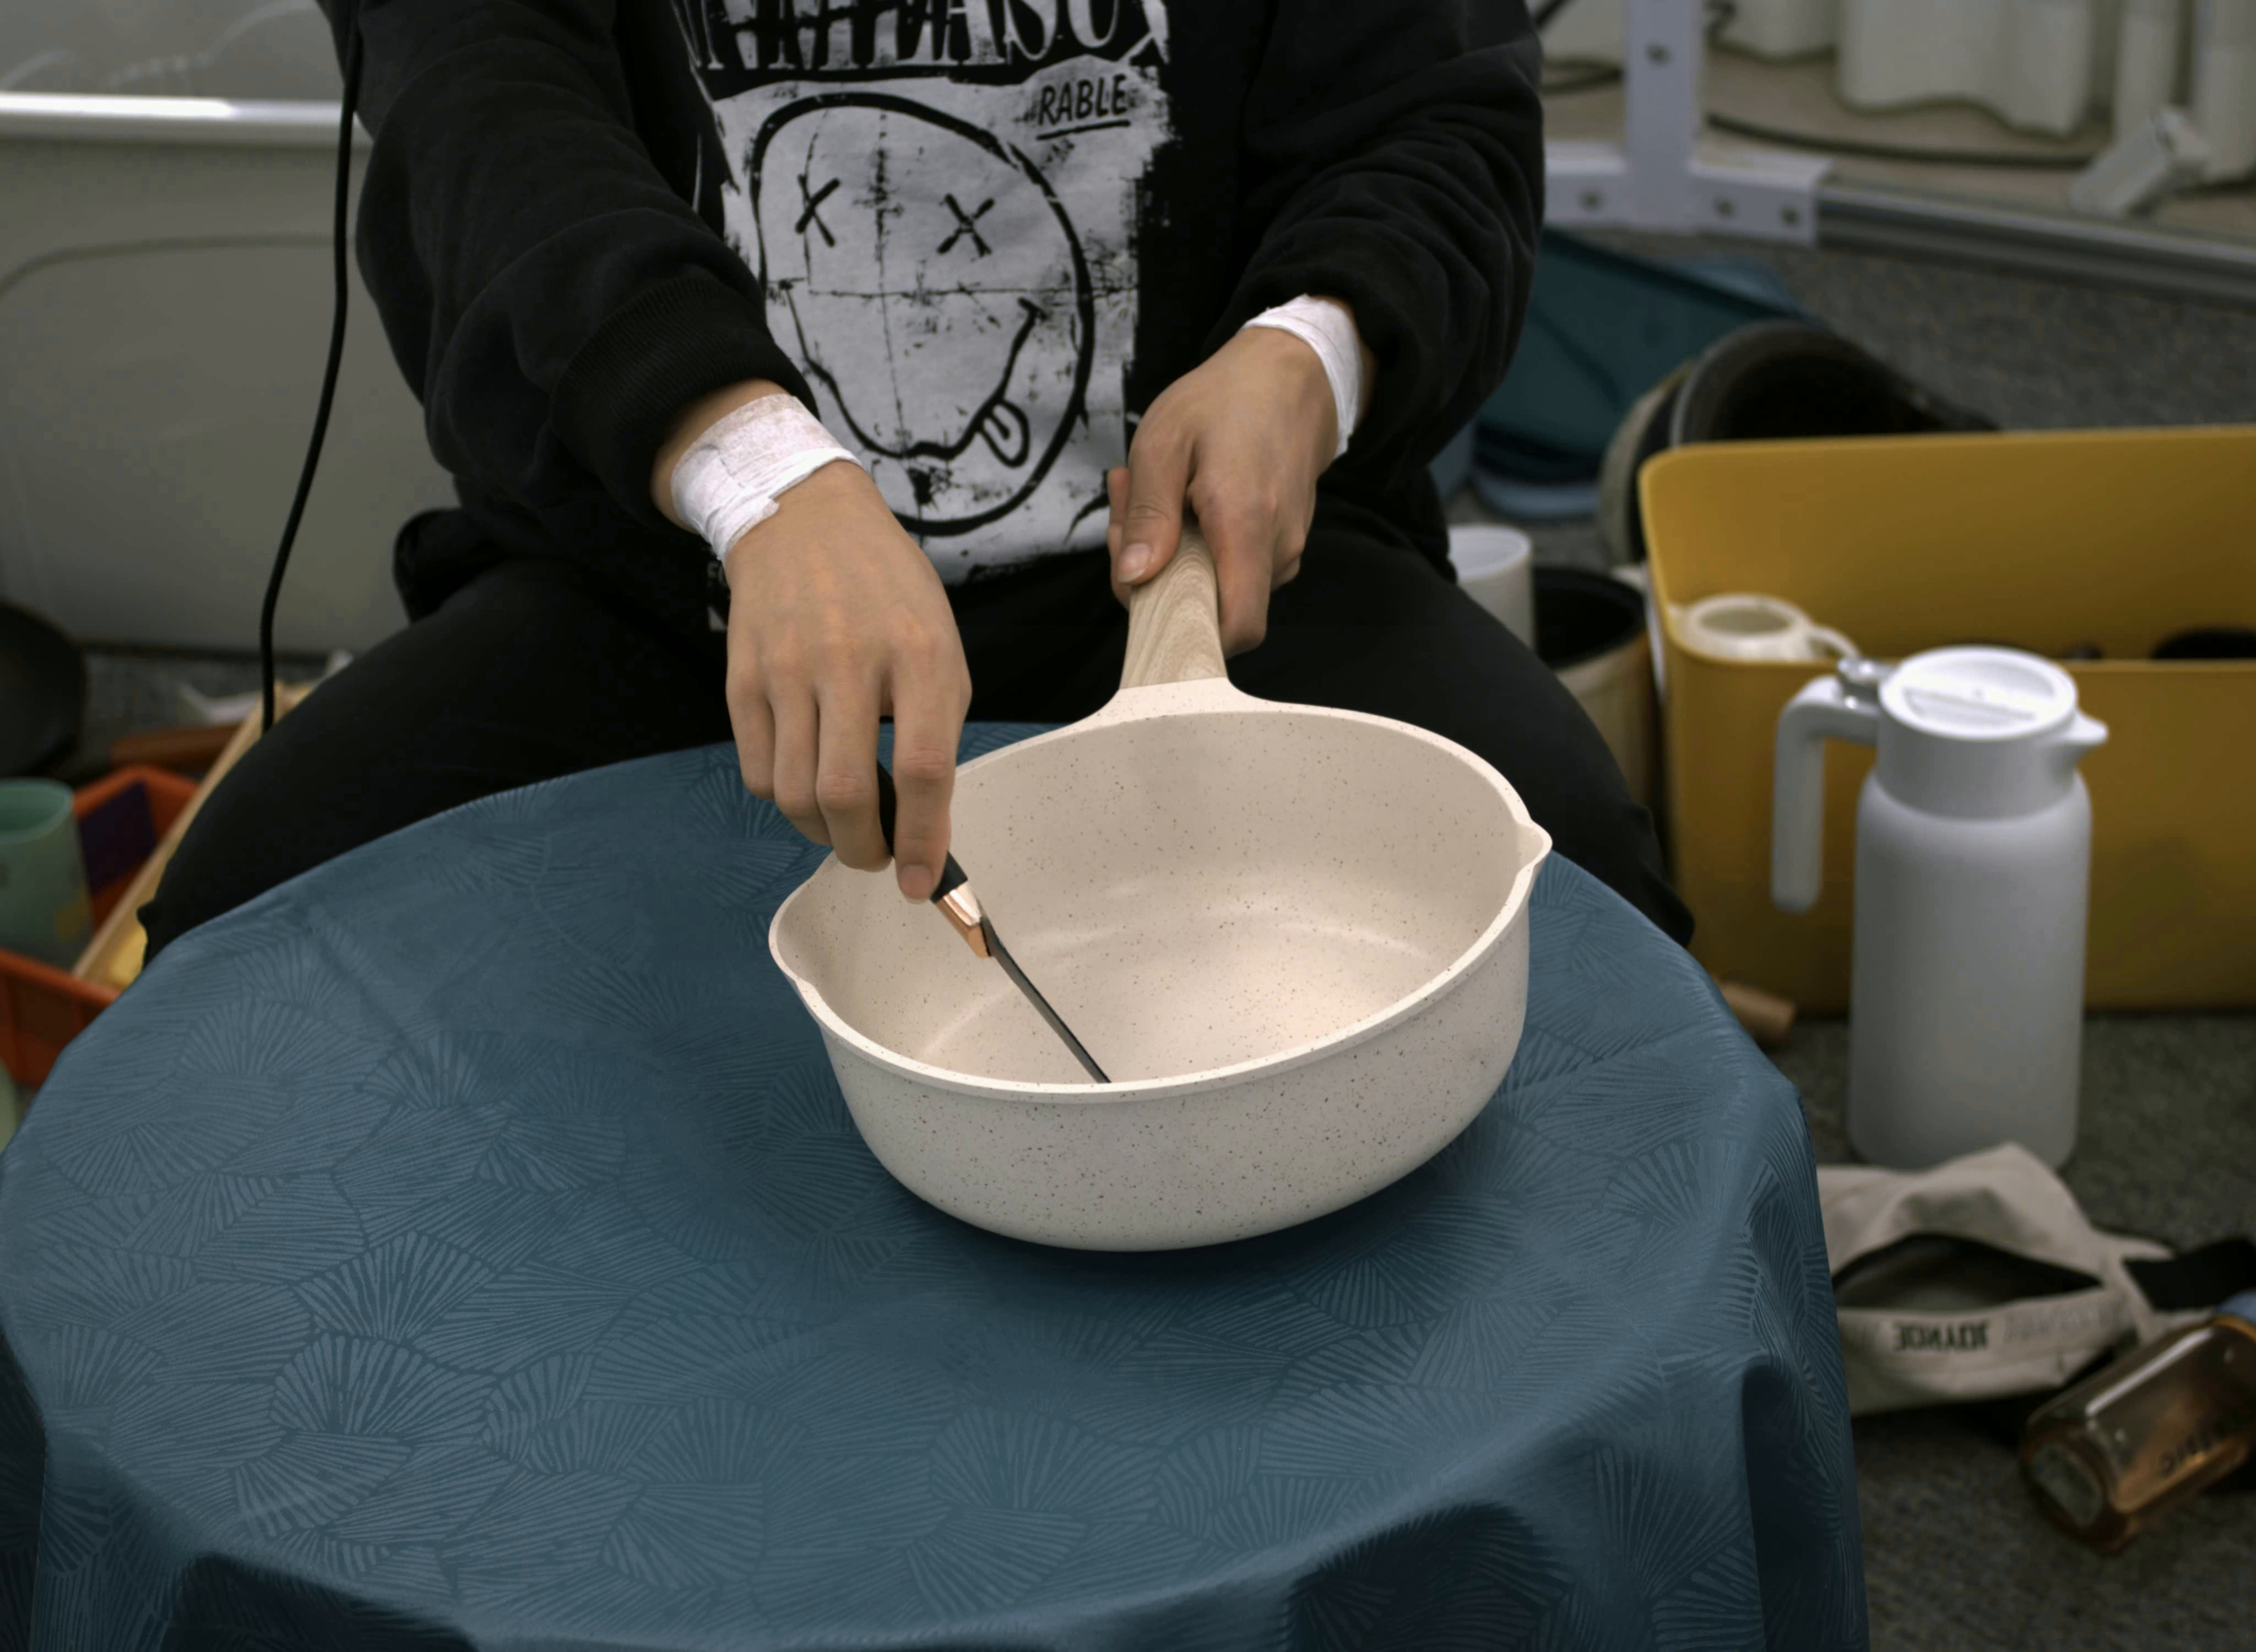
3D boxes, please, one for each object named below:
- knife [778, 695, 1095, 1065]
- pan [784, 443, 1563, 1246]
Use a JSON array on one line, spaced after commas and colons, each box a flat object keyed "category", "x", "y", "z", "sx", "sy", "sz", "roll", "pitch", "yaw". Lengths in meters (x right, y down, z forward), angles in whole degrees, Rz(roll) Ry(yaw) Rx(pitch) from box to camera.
[{"category": "knife", "x": -0.048, "y": 0.039, "z": 1.855, "sx": 0.017, "sy": 0.026, "sz": 0.227, "roll": -29, "pitch": 63, "yaw": -23}, {"category": "pan", "x": 0.022, "y": 0.002, "z": 1.959, "sx": 0.262, "sy": 0.101, "sz": 0.442, "roll": -8, "pitch": 28, "yaw": 5}]
